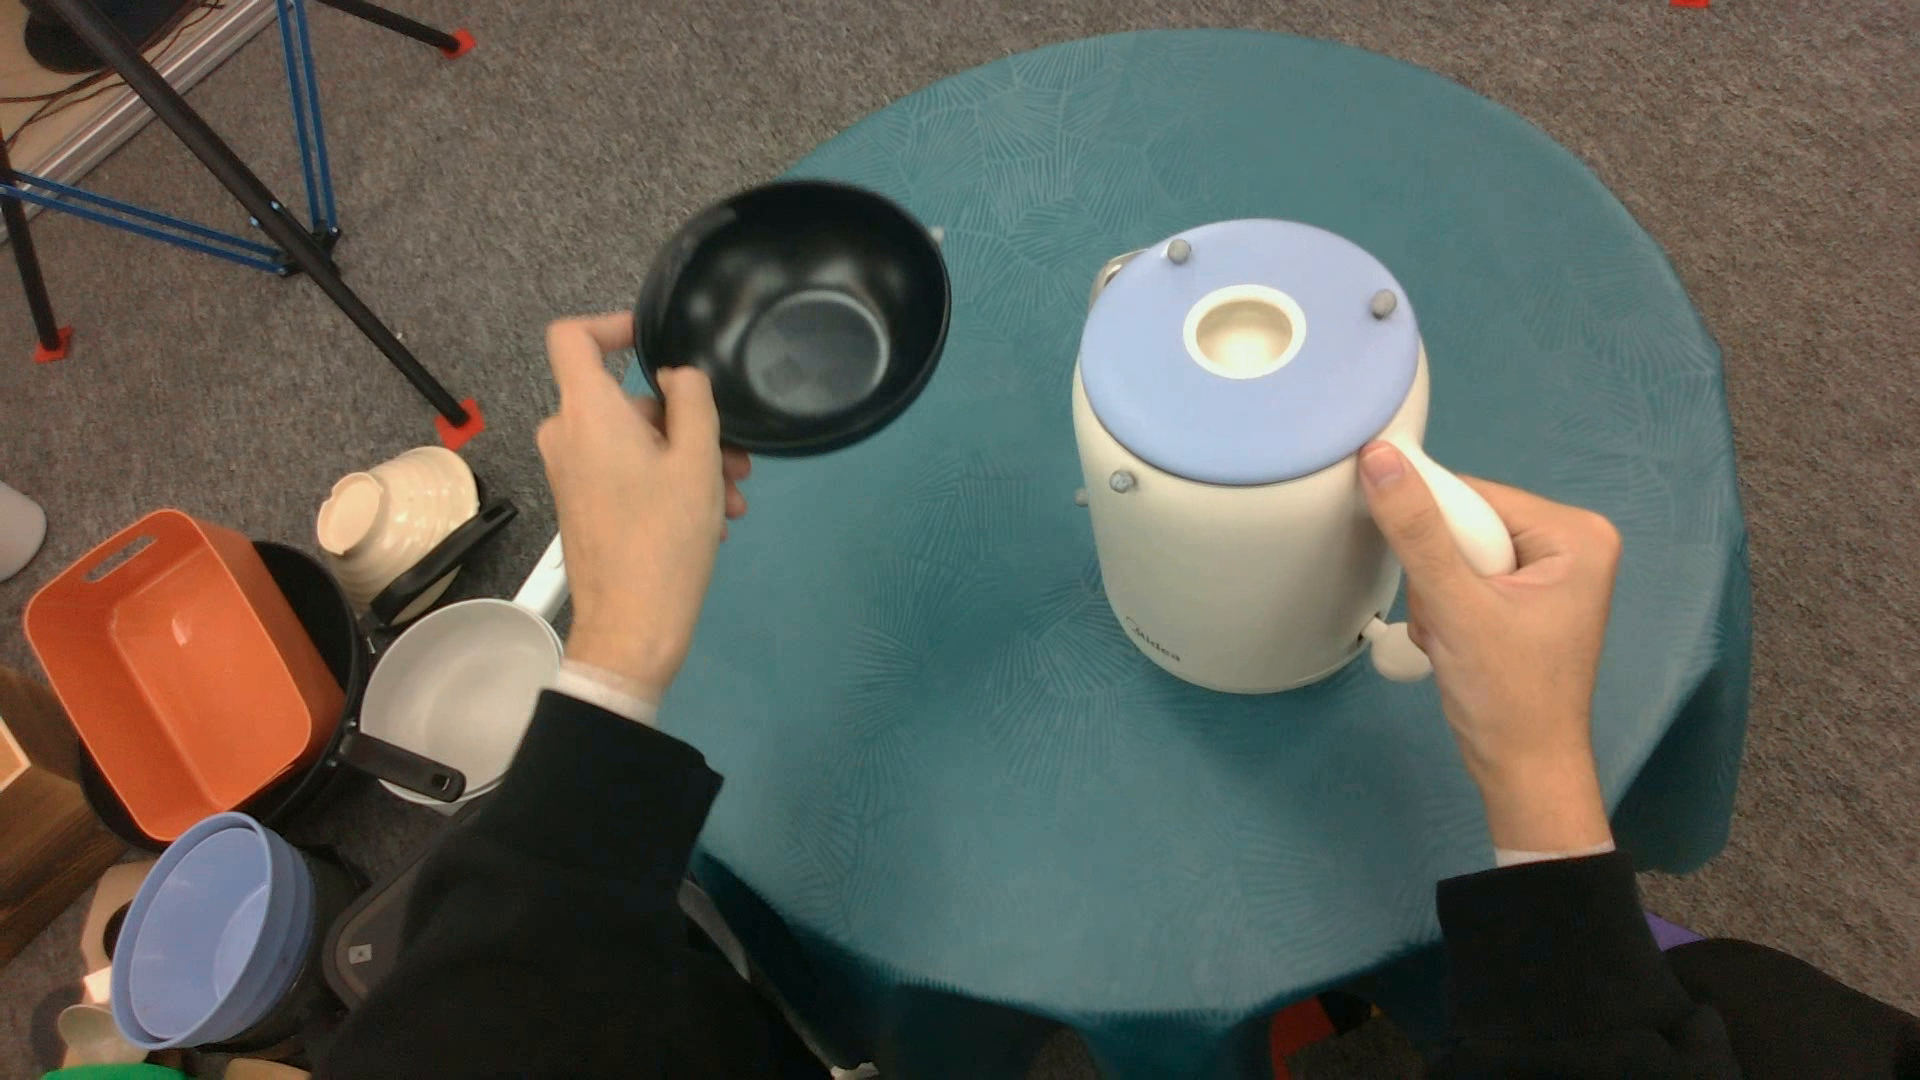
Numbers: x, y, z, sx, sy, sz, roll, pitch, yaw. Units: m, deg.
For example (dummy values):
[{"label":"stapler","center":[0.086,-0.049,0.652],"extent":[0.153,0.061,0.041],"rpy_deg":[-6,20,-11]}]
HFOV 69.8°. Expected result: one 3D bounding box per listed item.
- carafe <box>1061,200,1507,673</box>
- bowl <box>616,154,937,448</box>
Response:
[{"label":"carafe","center":[0.129,-0.023,0.554],"extent":[0.191,0.182,0.132],"rpy_deg":[37,73,25]},{"label":"bowl","center":[-0.077,-0.099,0.609],"extent":[0.140,0.049,0.140],"rpy_deg":[-1,70,4]}]
